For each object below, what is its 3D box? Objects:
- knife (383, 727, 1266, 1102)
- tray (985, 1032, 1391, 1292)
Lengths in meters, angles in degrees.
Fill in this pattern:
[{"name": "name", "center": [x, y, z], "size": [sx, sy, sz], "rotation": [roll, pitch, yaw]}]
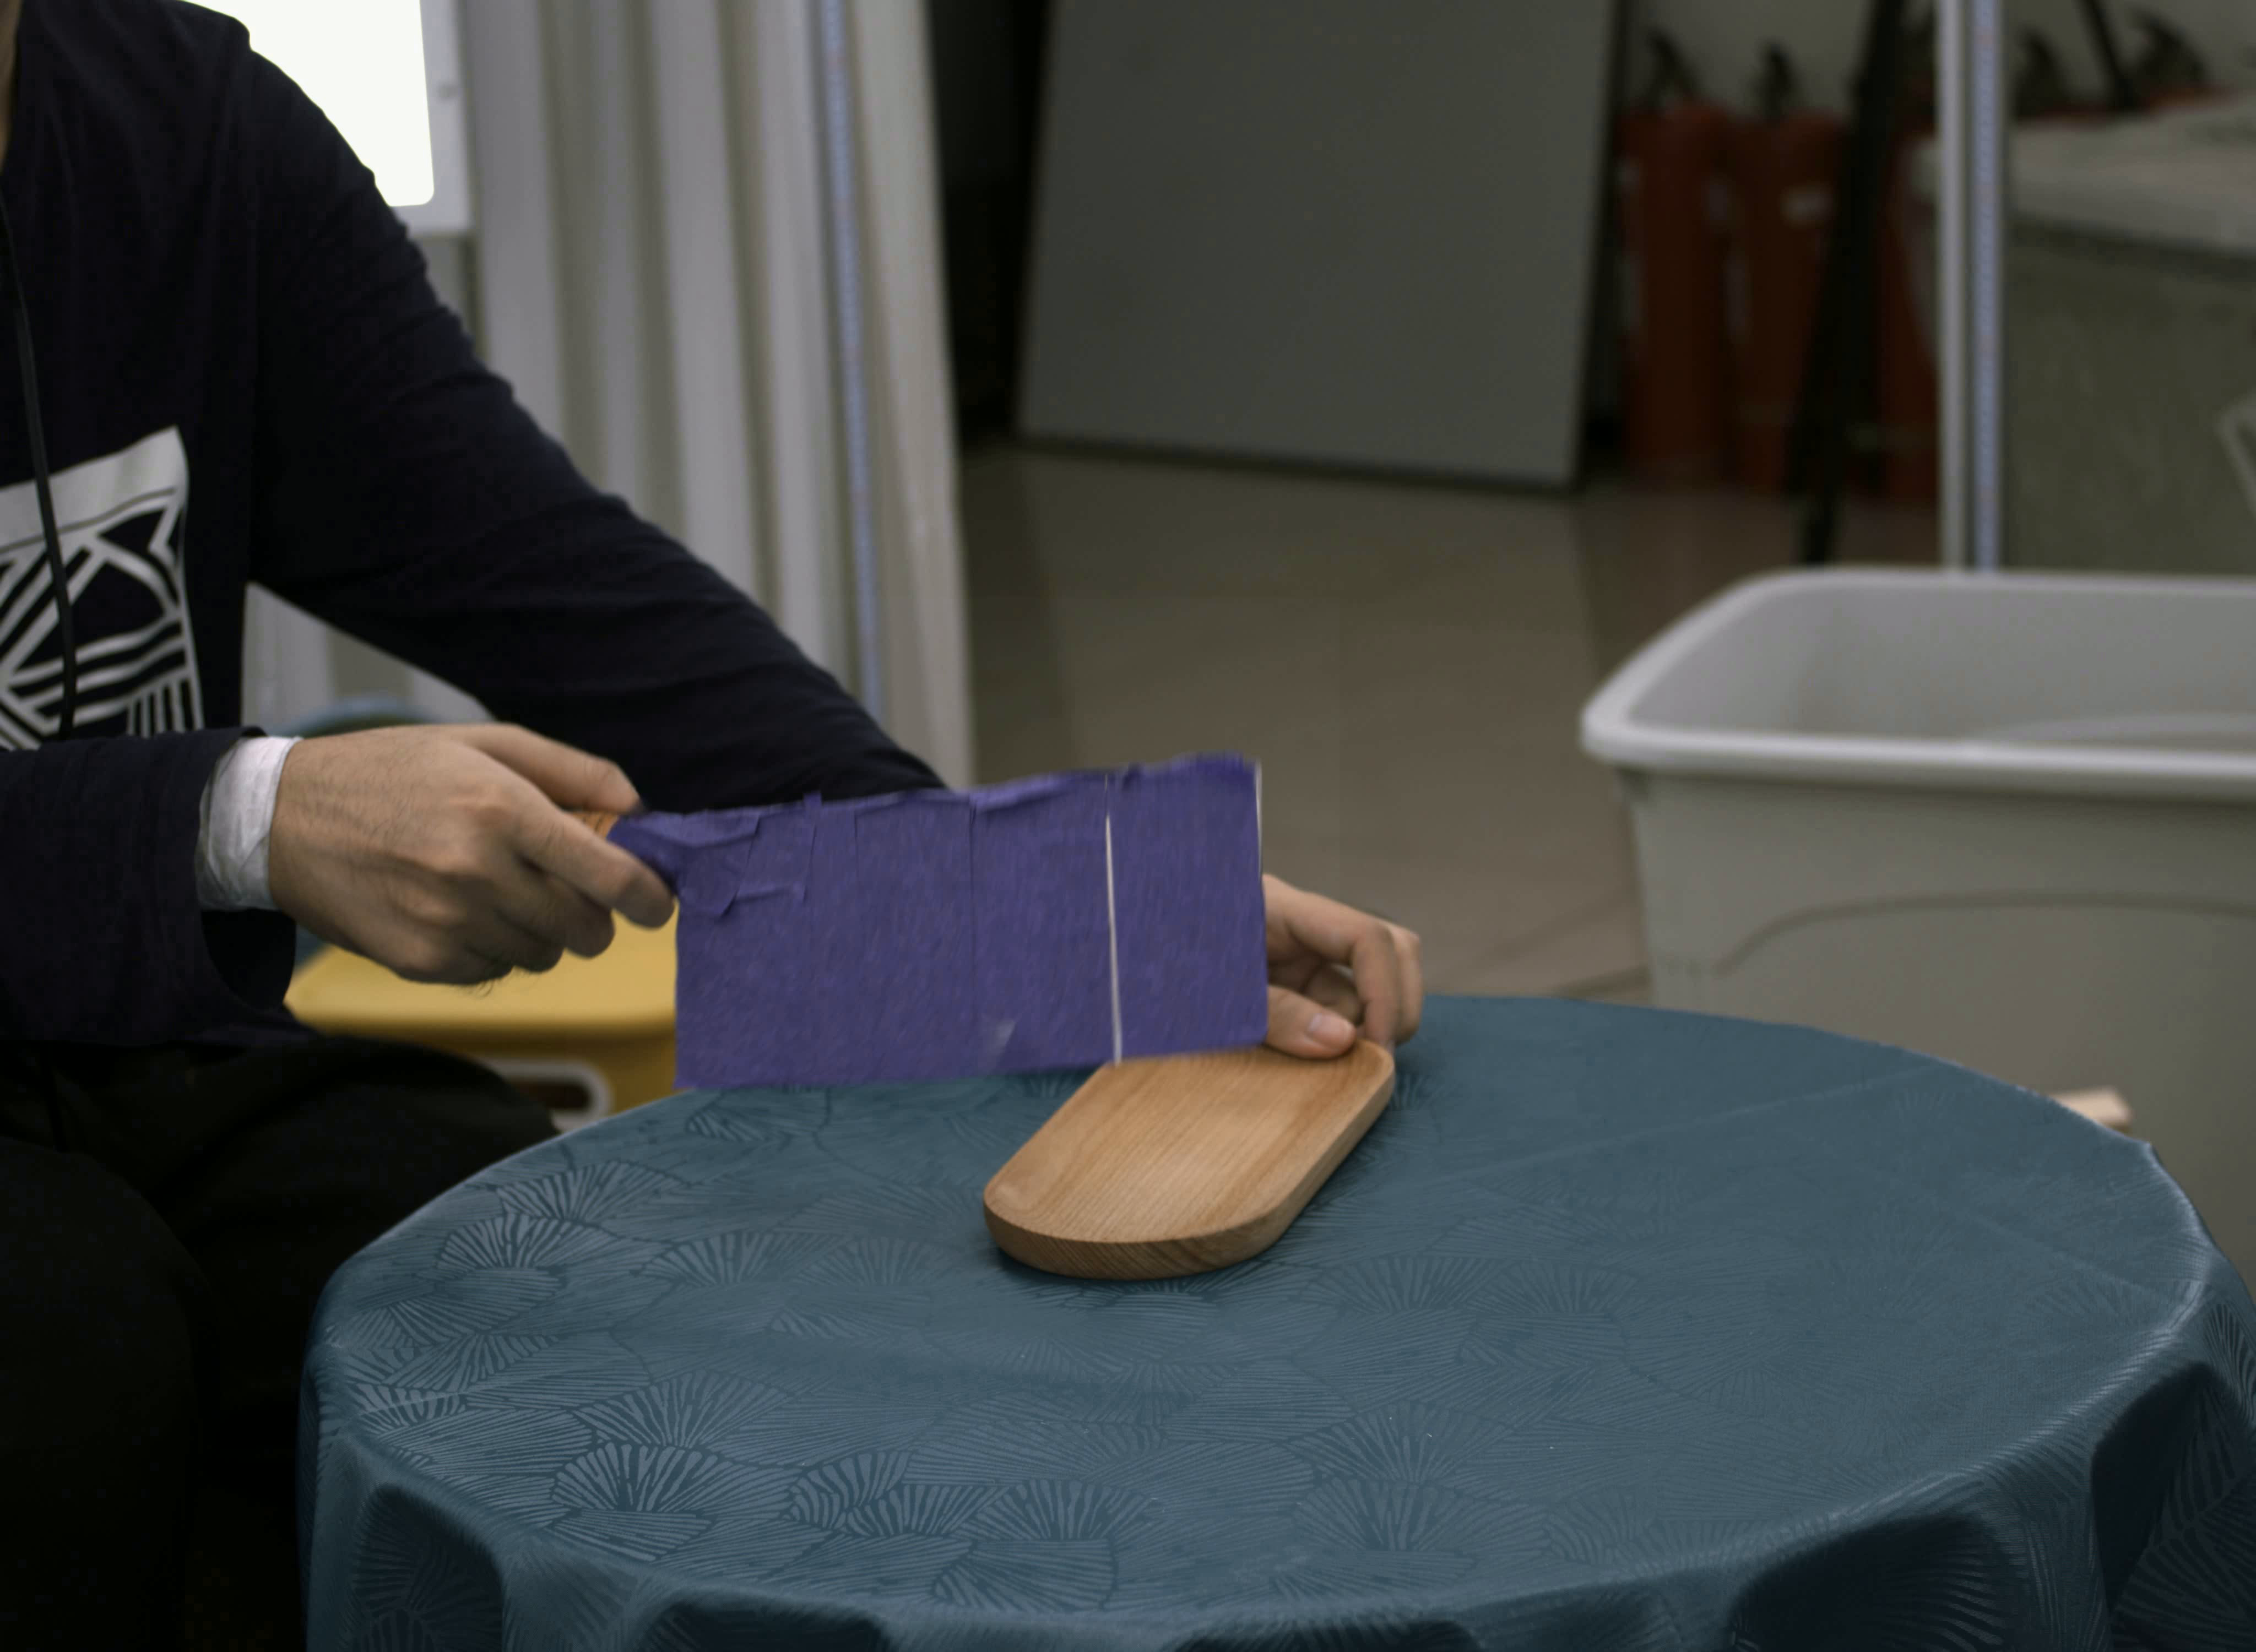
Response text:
[{"name": "knife", "center": [-0.099, 0.036, 1.678], "size": [0.316, 0.105, 0.031], "rotation": [-7, -16, 29]}, {"name": "tray", "center": [0.023, 0.109, 1.783], "size": [0.101, 0.020, 0.229], "rotation": [1, 17, 17]}]
